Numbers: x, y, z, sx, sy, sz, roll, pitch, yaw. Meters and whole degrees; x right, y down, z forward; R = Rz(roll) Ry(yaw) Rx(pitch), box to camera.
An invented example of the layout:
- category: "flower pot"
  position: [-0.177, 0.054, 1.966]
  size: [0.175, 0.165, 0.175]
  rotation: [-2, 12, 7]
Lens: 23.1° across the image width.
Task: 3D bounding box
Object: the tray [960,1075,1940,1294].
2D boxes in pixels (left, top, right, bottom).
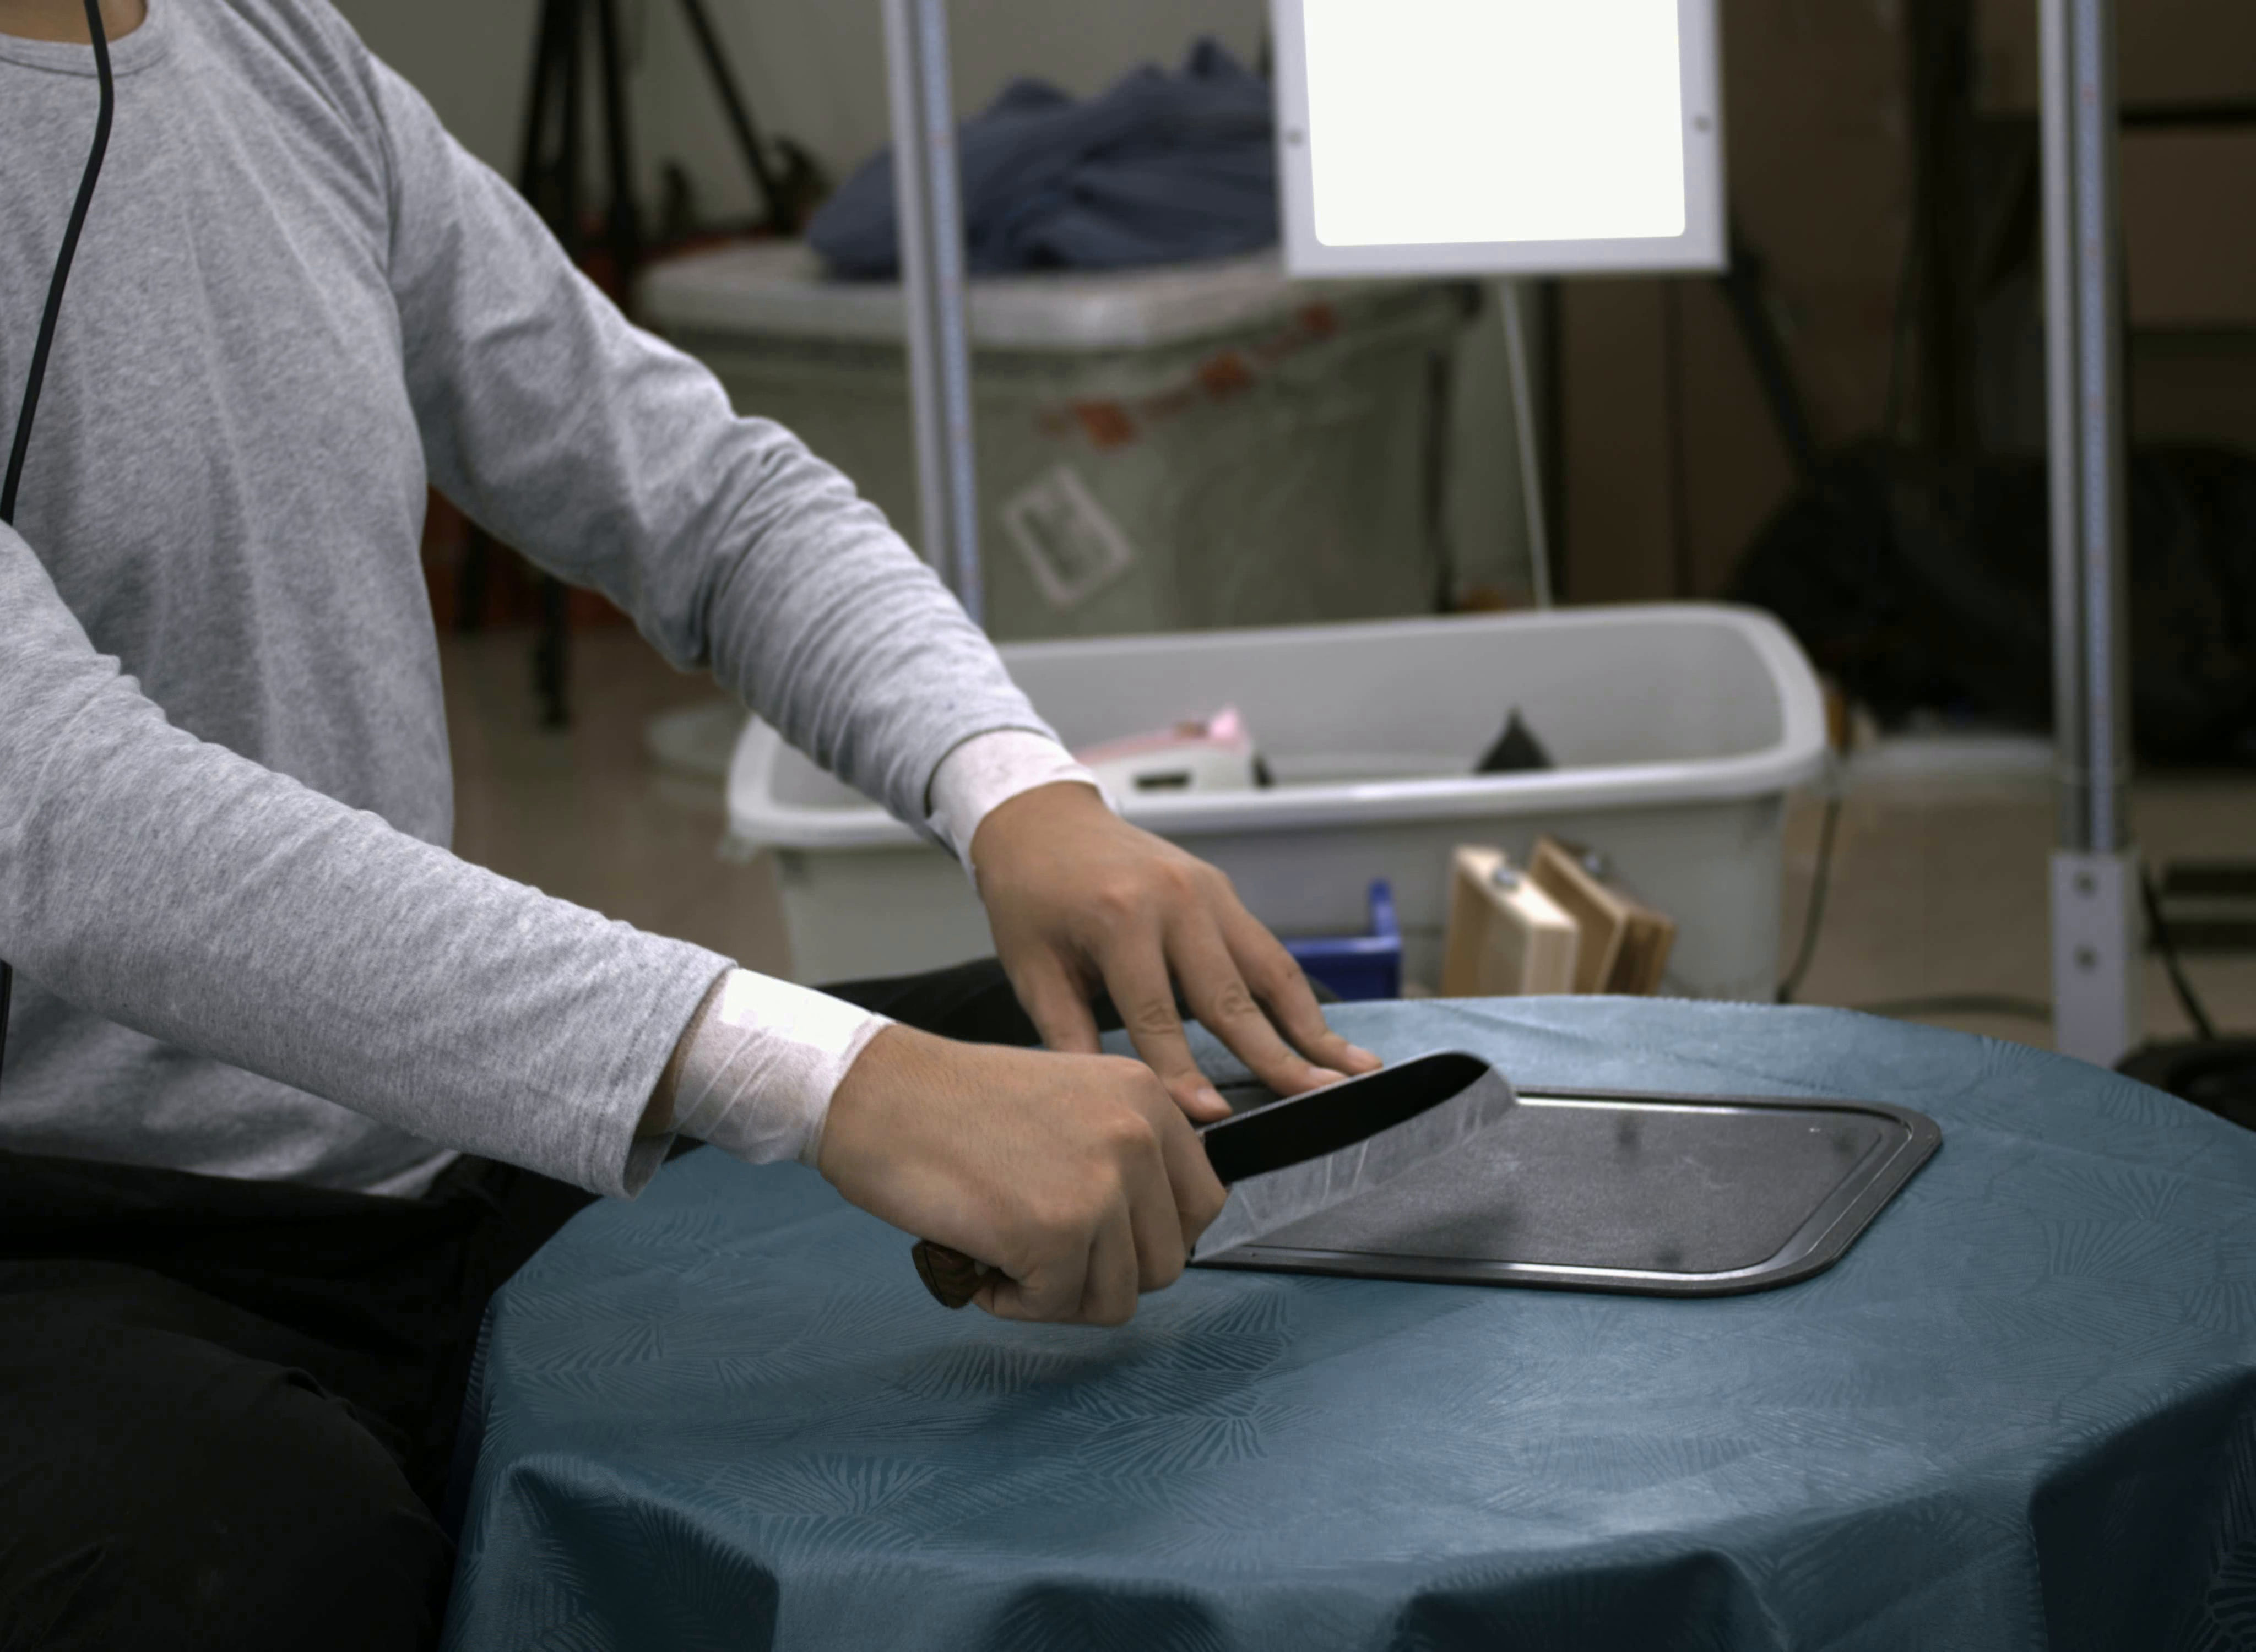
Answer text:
- category: "tray"
  position: [0.105, 0.119, 1.885]
  size: [0.331, 0.010, 0.207]
  rotation: [1, 15, 26]

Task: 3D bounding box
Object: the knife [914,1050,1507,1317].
- category: "knife"
  position: [0.035, 0.116, 1.792]
  size: [0.020, 0.050, 0.281]
  rotation: [25, 26, 38]
